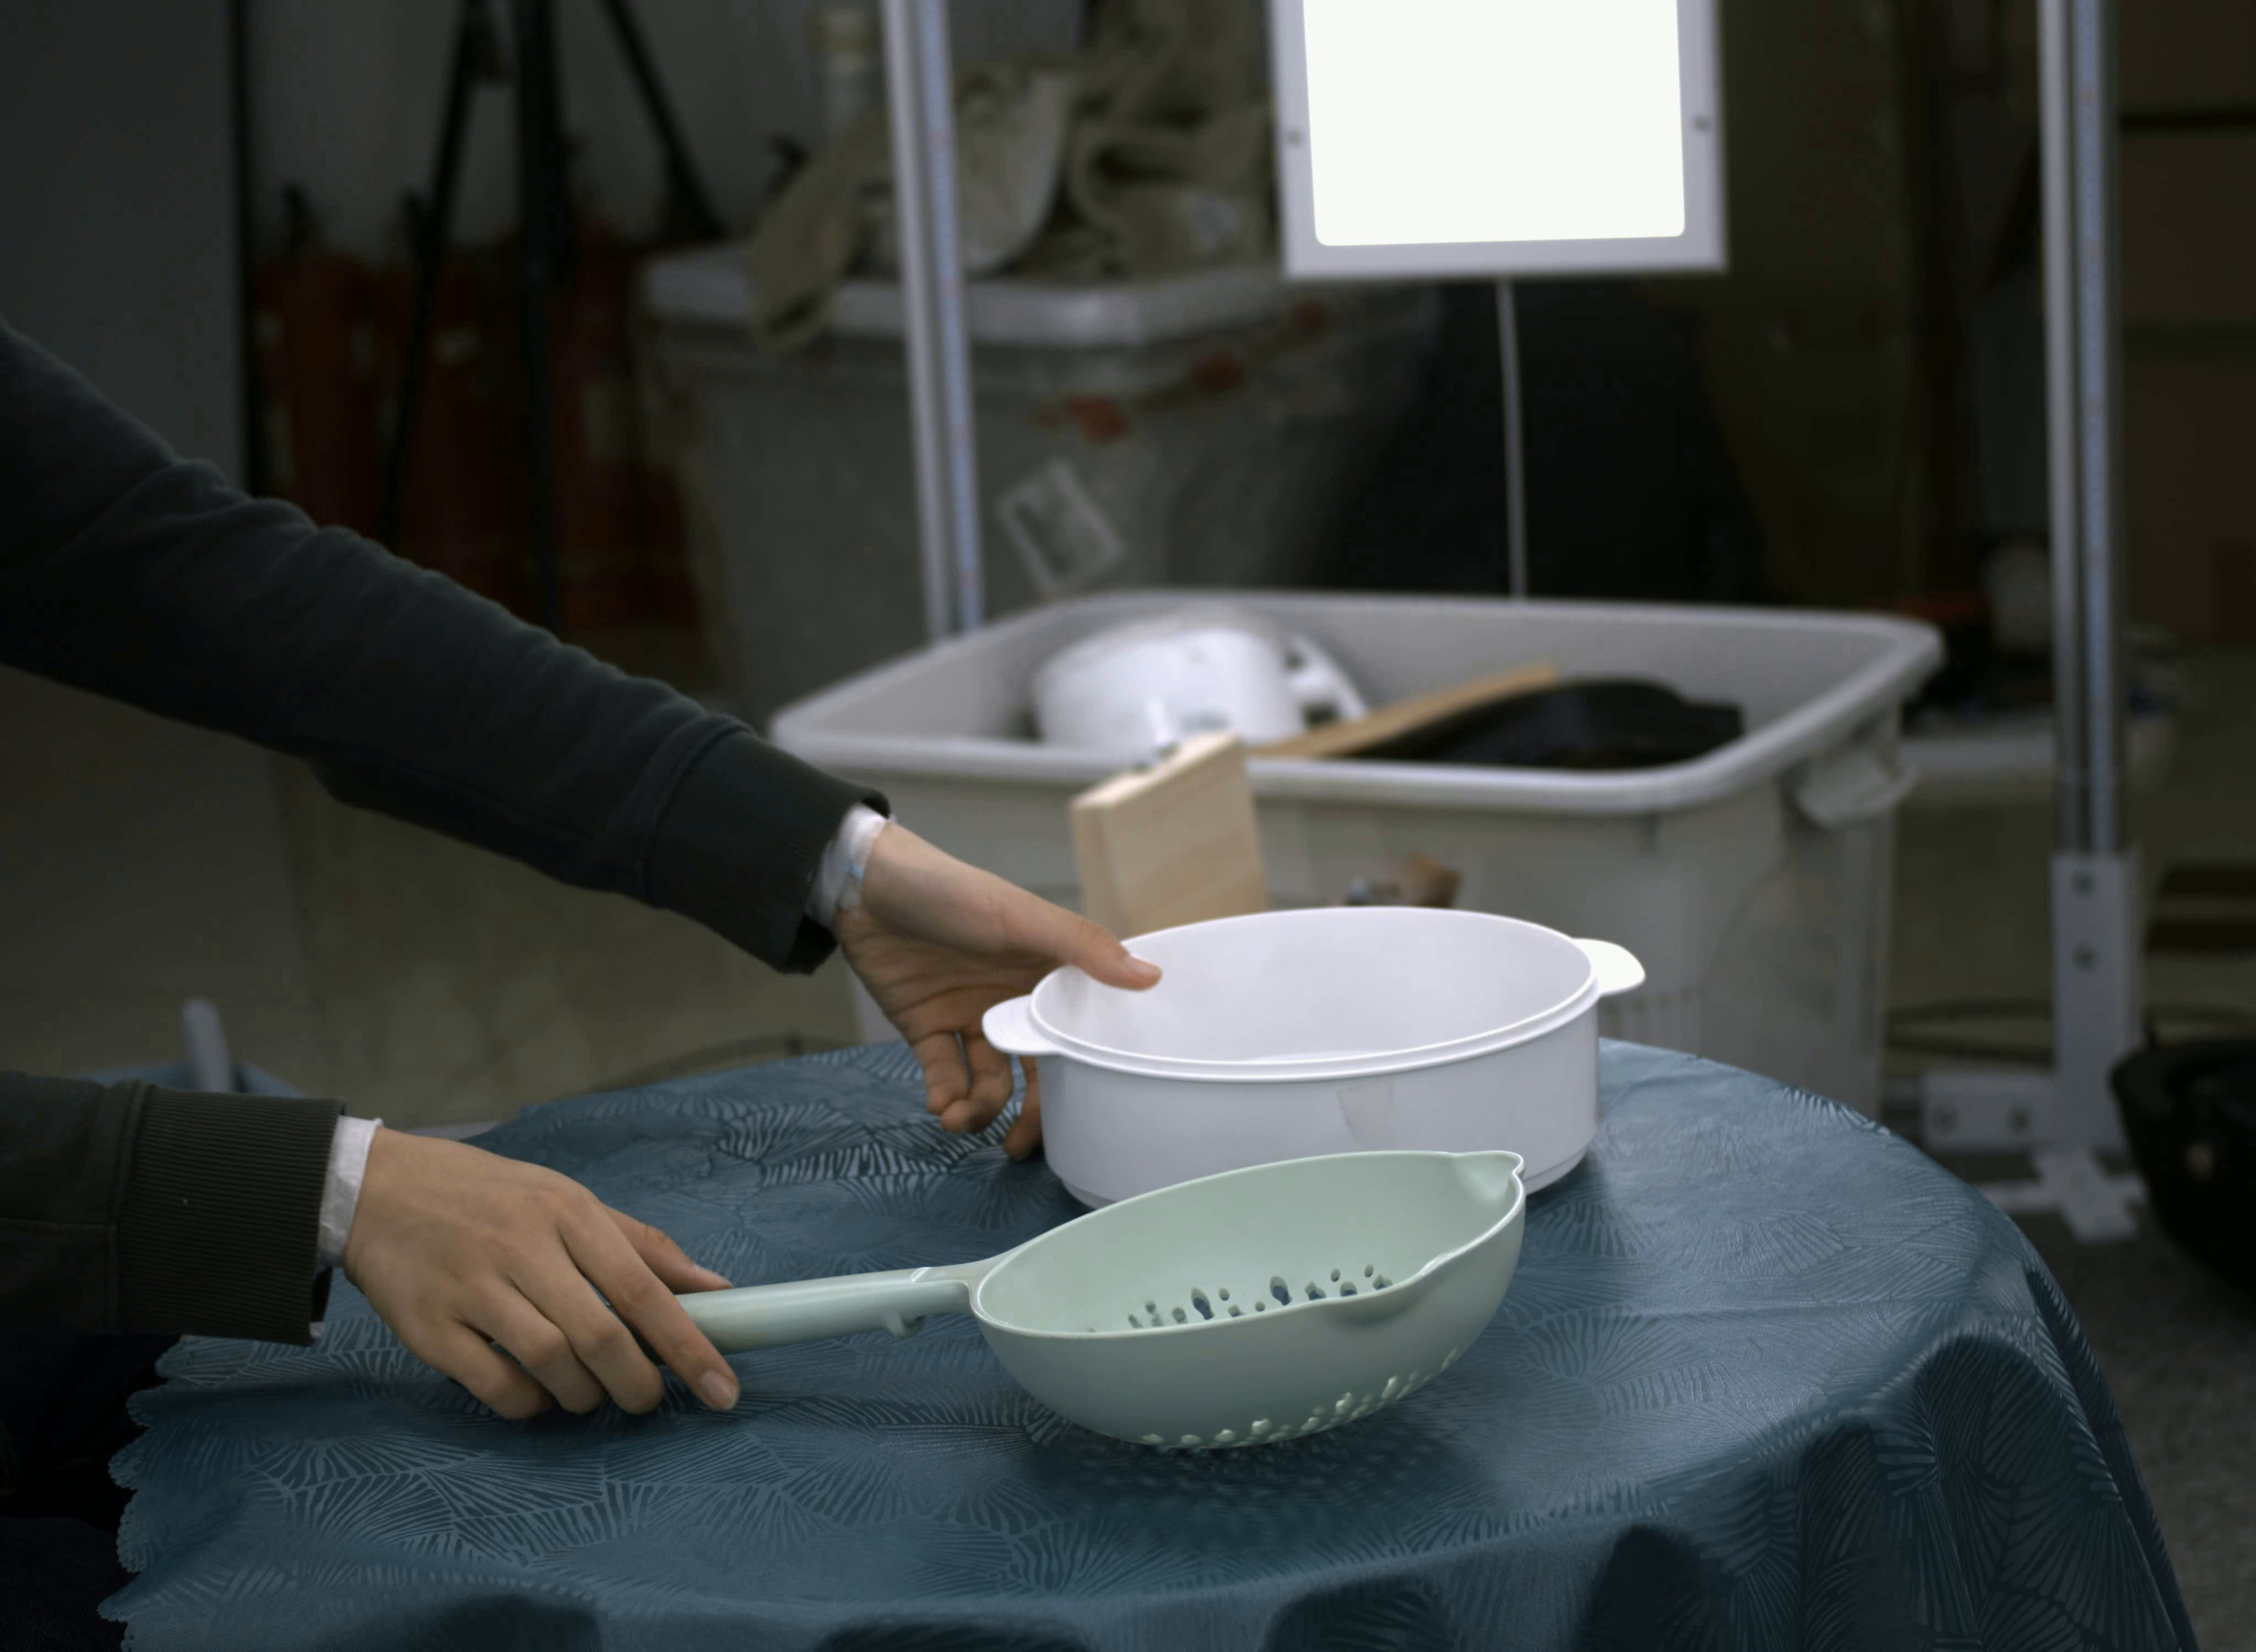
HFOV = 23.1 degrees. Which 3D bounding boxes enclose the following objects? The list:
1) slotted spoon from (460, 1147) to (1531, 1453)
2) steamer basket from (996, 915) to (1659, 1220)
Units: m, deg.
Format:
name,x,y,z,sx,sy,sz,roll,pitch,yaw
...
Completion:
name,x,y,z,sx,sy,sz,roll,pitch,yaw
slotted spoon,-0.049,0.147,1.693,0.364,0.075,0.166,1,14,23
steamer basket,0.071,0.087,1.900,0.229,0.069,0.202,-7,13,-6
